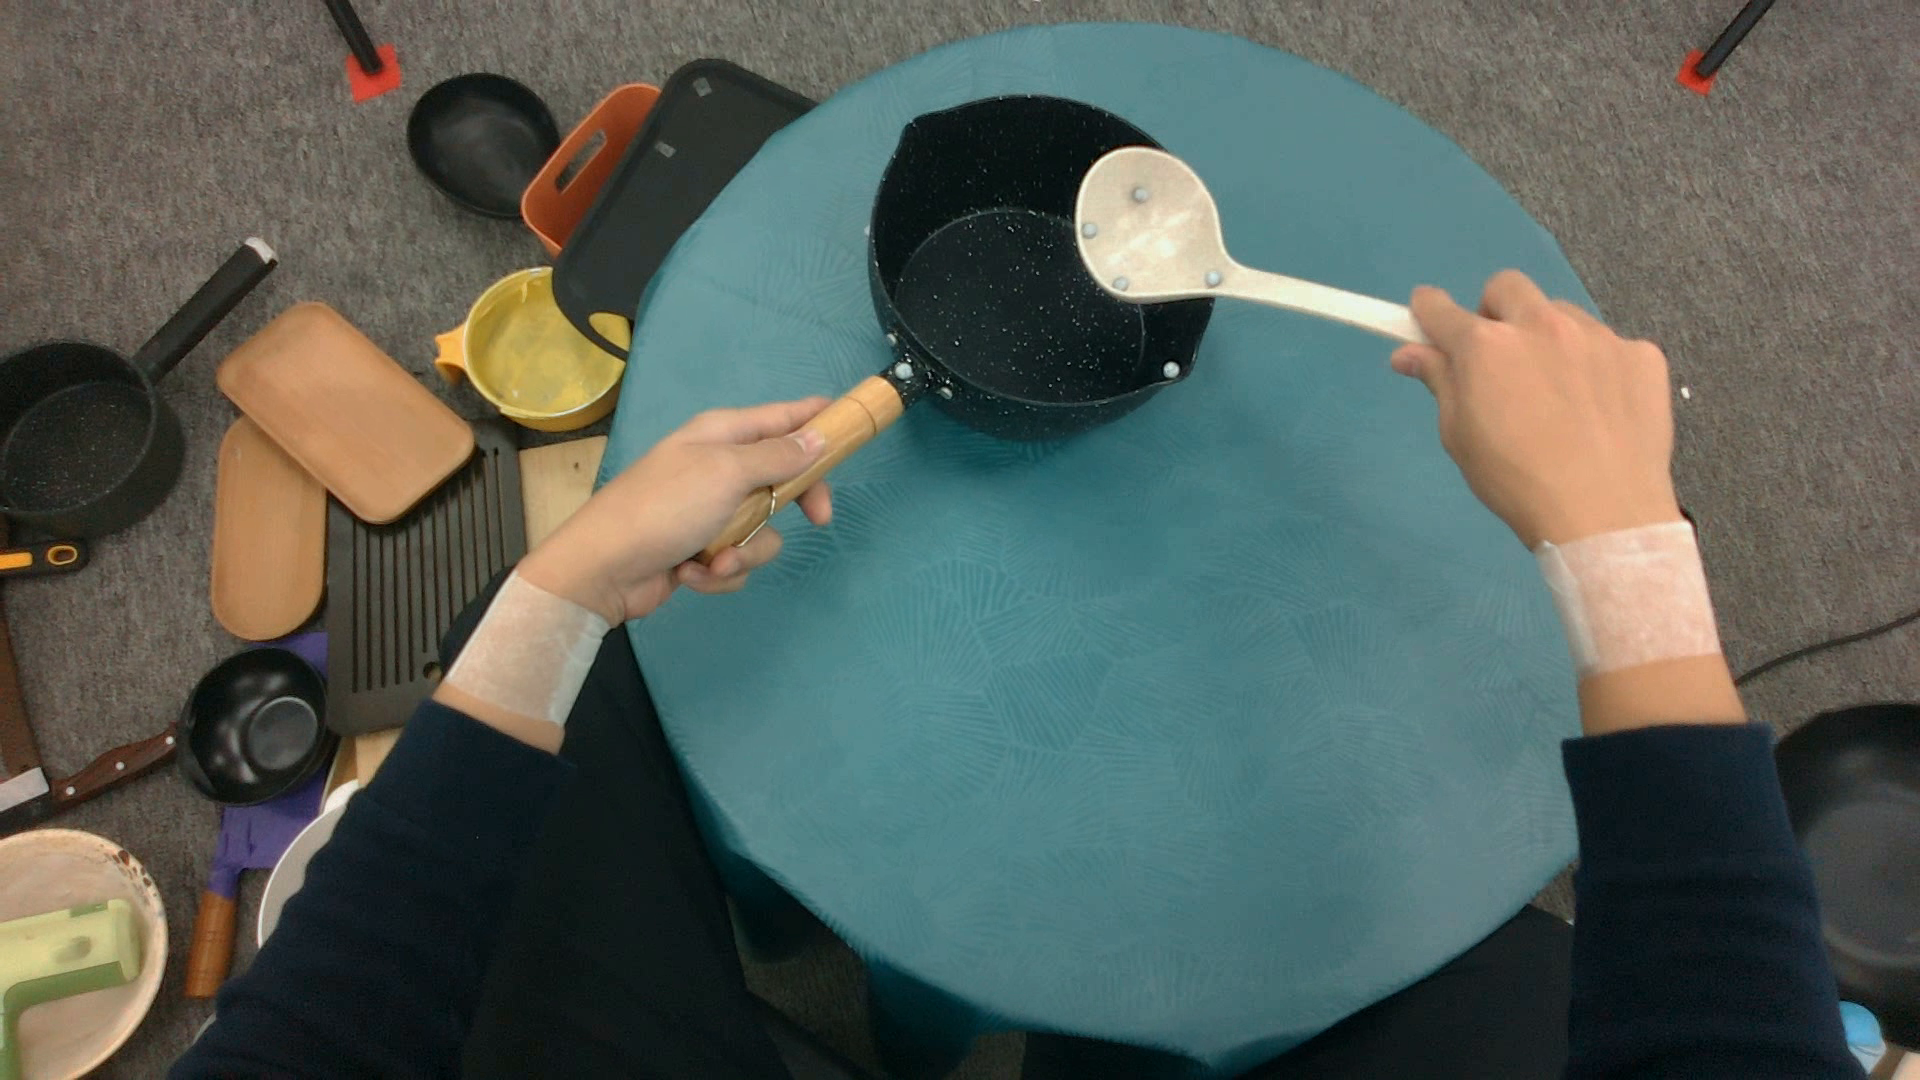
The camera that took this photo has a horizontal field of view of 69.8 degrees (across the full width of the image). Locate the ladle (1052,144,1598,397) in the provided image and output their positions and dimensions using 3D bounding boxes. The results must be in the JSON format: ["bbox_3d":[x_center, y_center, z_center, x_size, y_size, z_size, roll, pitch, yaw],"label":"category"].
[{"bbox_3d":[0.162,-0.131,0.646,0.274,0.069,0.090,24,54,39],"label":"ladle"}]

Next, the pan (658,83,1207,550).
[{"bbox_3d":[-0.018,-0.096,0.712,0.207,0.108,0.344,43,68,6],"label":"pan"}]
